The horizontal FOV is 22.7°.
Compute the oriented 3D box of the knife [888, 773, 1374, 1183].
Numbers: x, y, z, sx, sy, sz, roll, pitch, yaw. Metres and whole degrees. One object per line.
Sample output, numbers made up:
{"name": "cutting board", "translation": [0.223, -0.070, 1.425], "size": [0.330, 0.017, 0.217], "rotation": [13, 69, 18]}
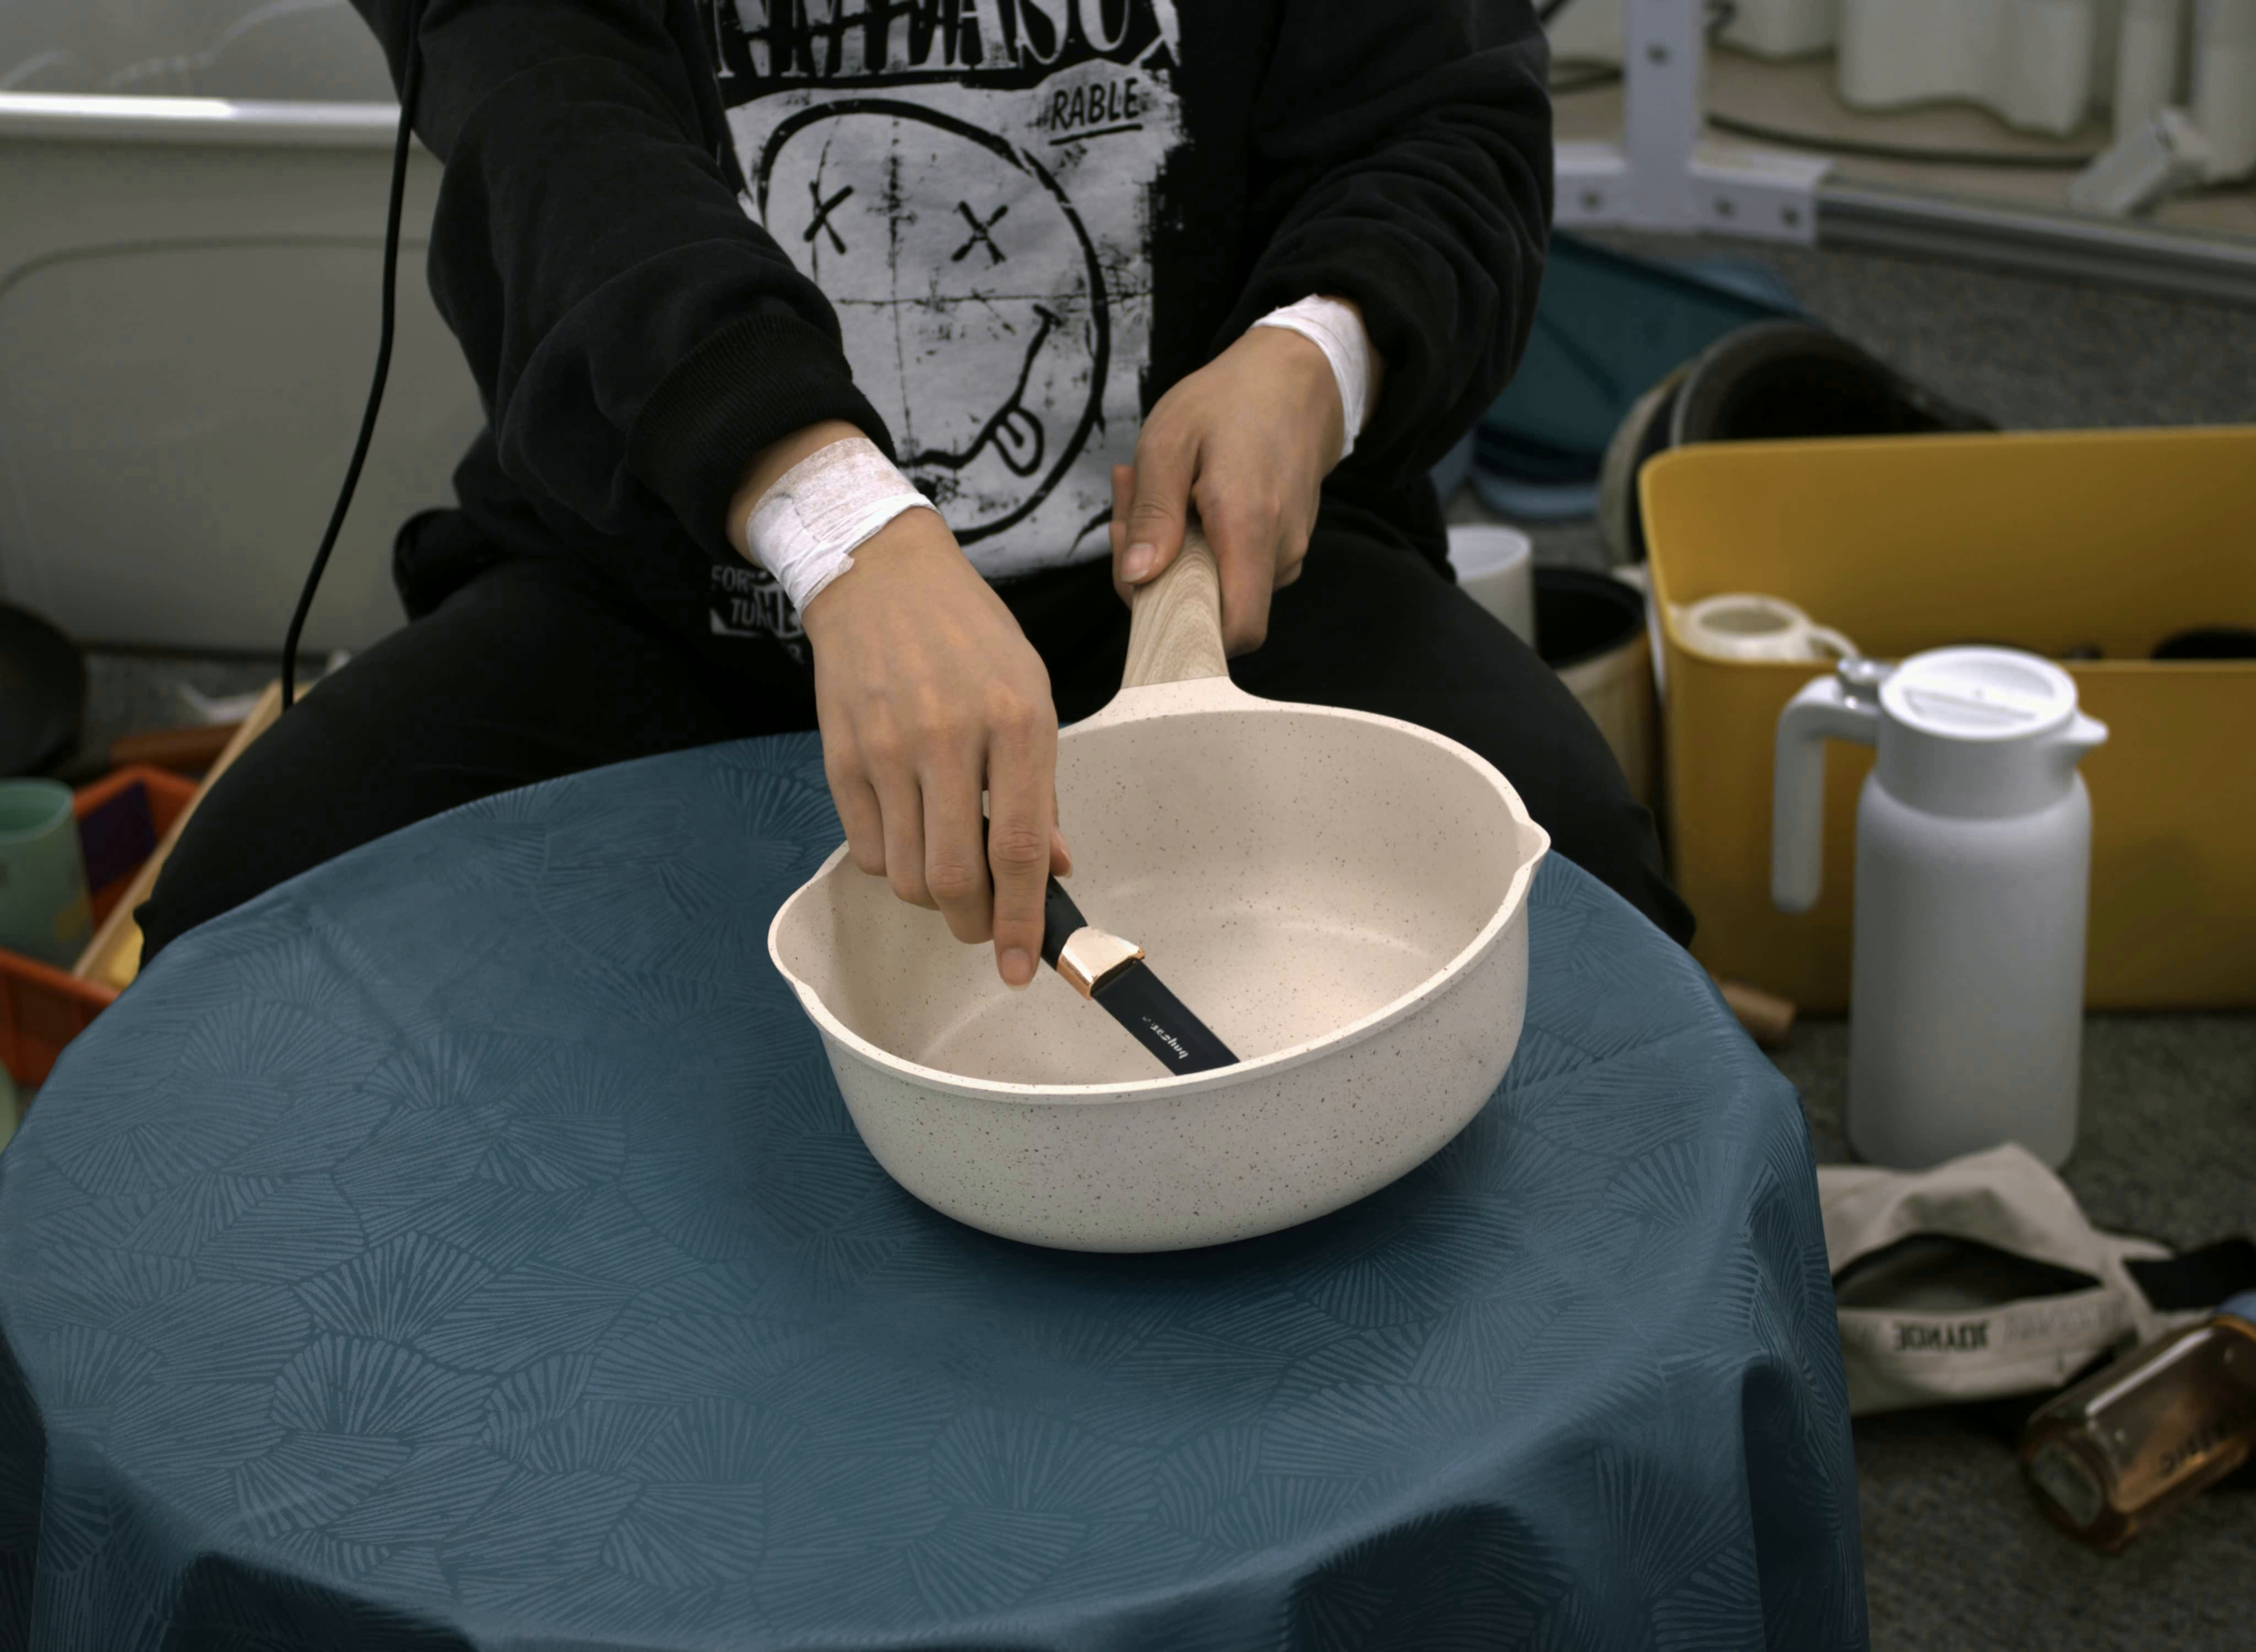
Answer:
{"name": "knife", "translation": [-0.001, 0.051, 1.865], "size": [0.026, 0.017, 0.226], "rotation": [-31, 58, -30]}

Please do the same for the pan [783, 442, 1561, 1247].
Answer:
{"name": "pan", "translation": [0.022, 0.002, 1.957], "size": [0.262, 0.101, 0.442], "rotation": [-9, 28, 6]}
